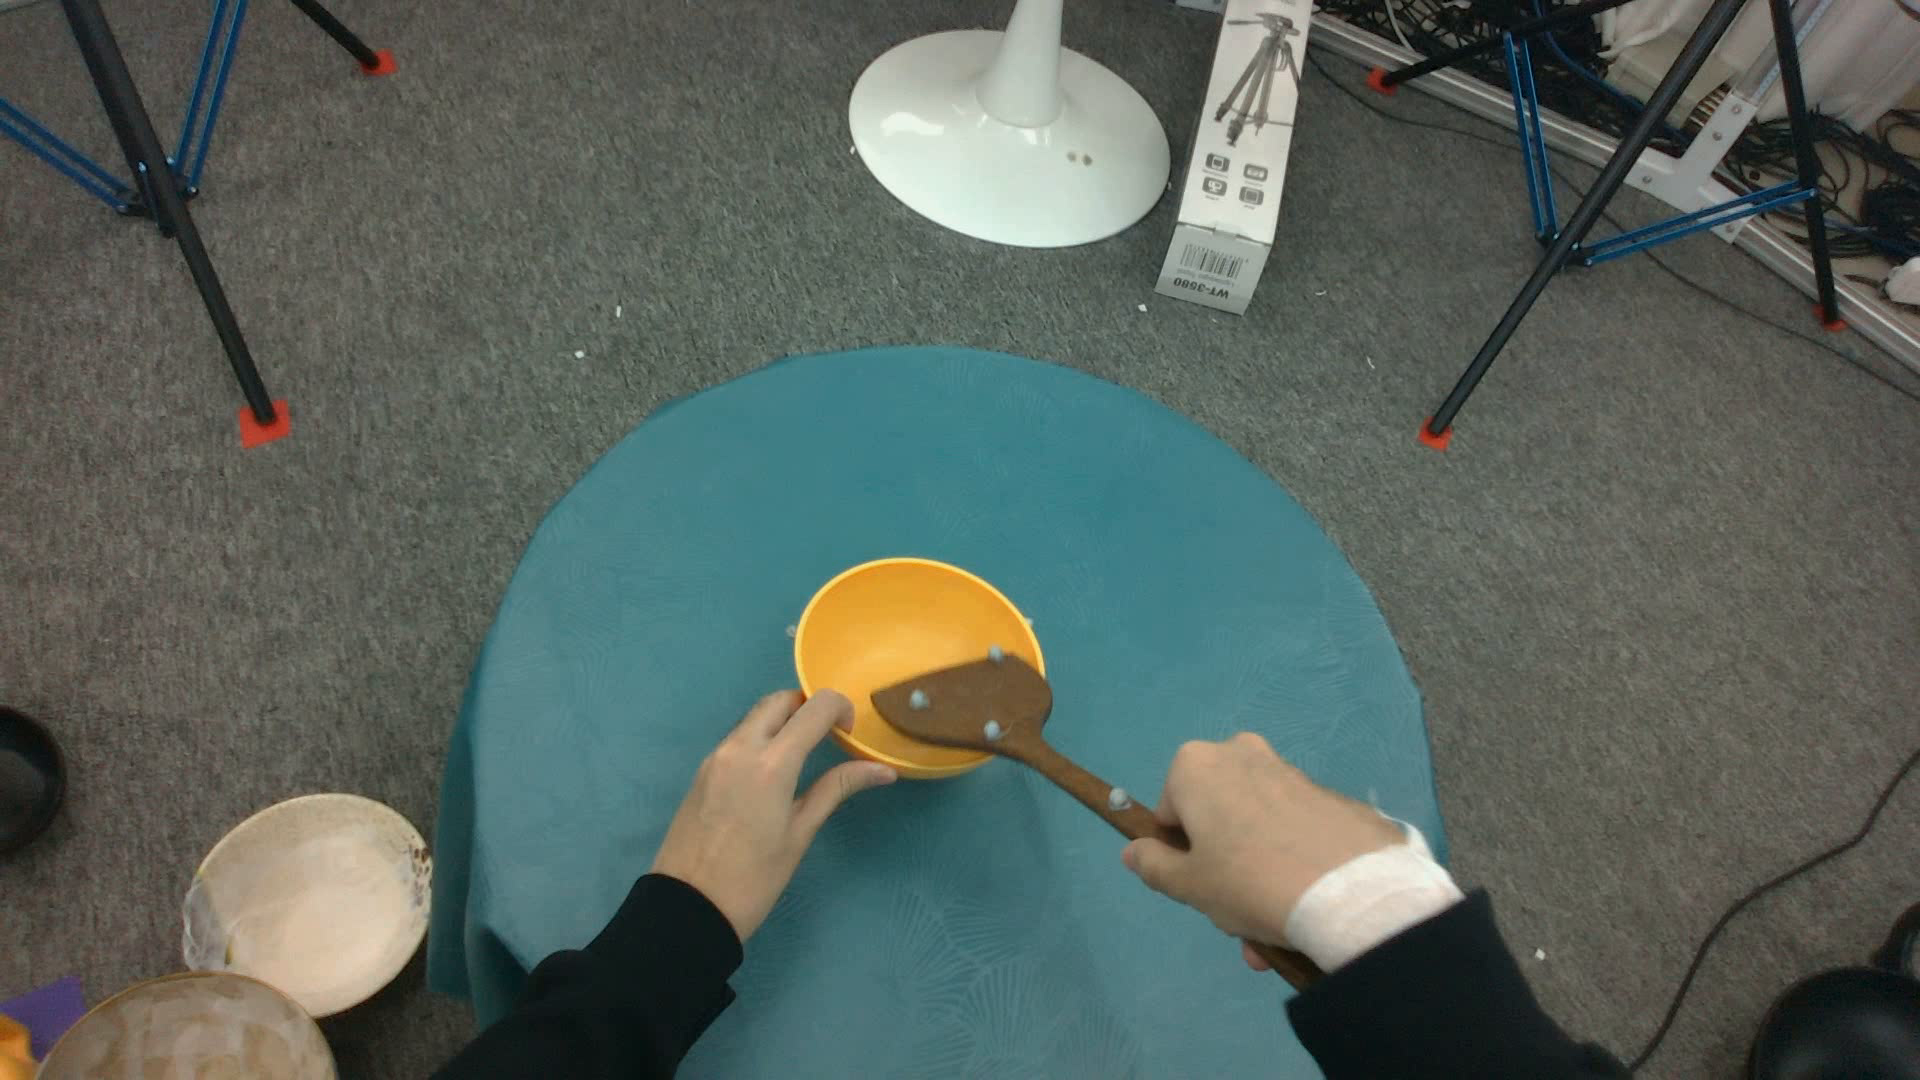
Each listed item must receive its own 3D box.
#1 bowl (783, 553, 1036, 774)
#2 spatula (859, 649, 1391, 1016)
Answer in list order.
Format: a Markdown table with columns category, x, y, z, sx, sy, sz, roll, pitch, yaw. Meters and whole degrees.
| category | x | y | z | sx | sy | sz | roll | pitch | yaw |
| --- | --- | --- | --- | --- | --- | --- | --- | --- | --- |
| bowl | -0.033 | 0.081 | 0.798 | 0.145 | 0.060 | 0.146 | 7 | 50 | -9 |
| spatula | 0.058 | 0.114 | 0.624 | 0.096 | 0.016 | 0.386 | -14 | 16 | -22 |
